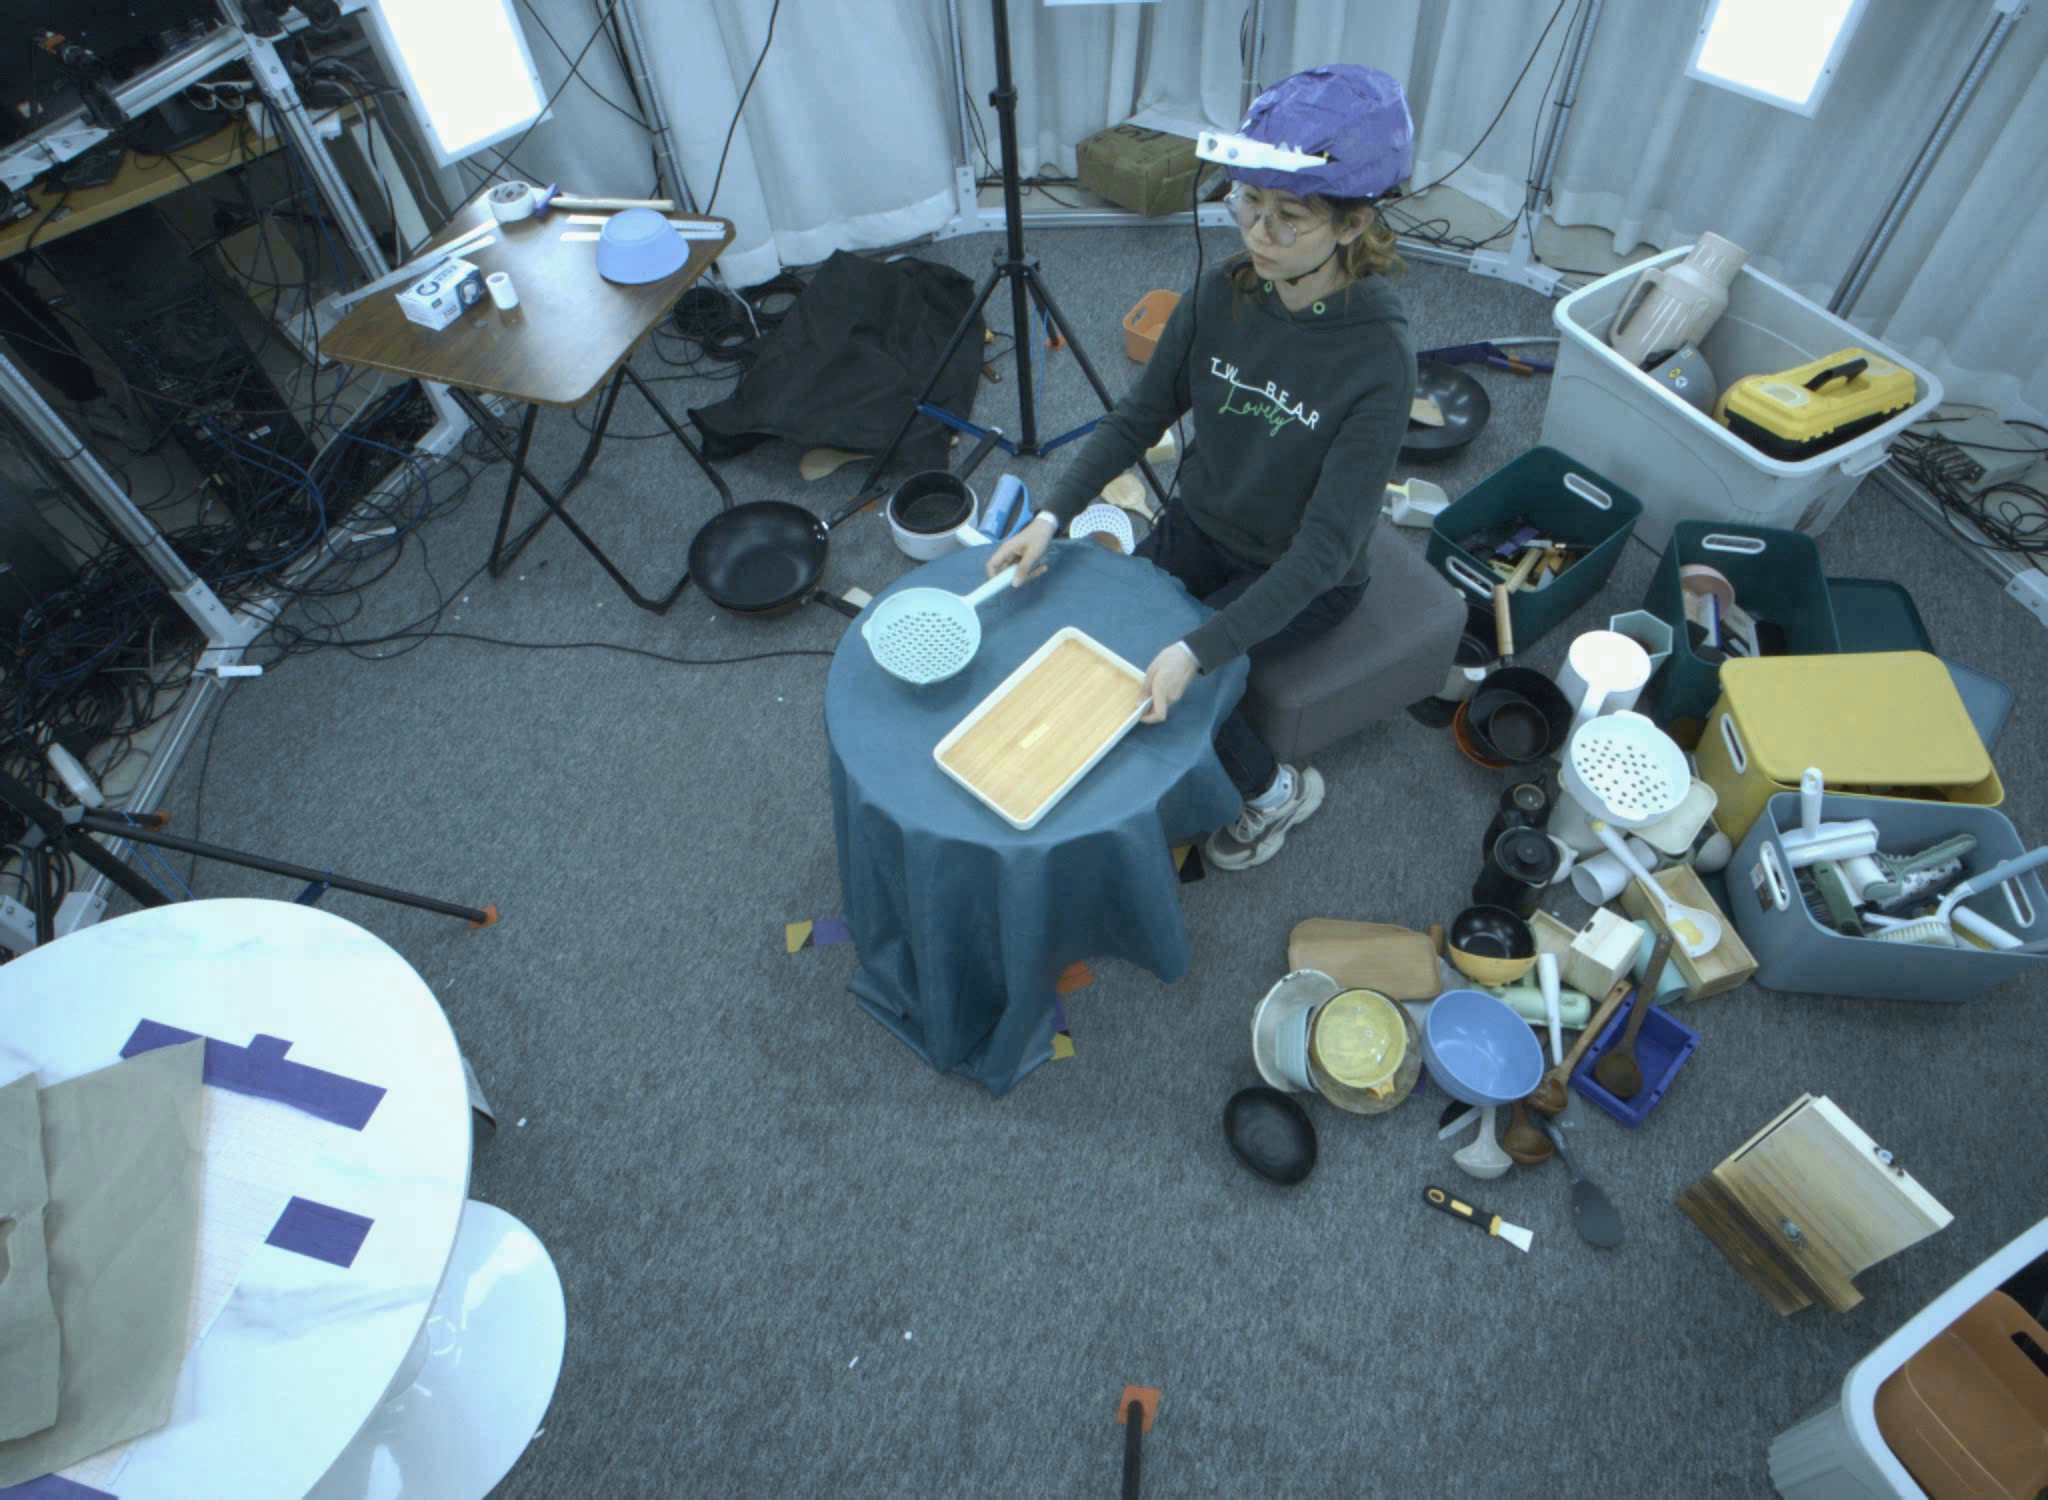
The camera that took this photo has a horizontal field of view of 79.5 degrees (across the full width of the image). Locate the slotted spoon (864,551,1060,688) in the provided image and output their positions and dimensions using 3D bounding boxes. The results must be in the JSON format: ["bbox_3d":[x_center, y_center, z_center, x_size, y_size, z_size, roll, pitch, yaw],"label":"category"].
[{"bbox_3d":[-0.079,-0.220,1.897,0.360,0.076,0.167,-41,72,-16],"label":"slotted spoon"}]

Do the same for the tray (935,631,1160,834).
[{"bbox_3d":[0.036,-0.031,1.785,0.188,0.028,0.302,37,70,24],"label":"tray"}]
